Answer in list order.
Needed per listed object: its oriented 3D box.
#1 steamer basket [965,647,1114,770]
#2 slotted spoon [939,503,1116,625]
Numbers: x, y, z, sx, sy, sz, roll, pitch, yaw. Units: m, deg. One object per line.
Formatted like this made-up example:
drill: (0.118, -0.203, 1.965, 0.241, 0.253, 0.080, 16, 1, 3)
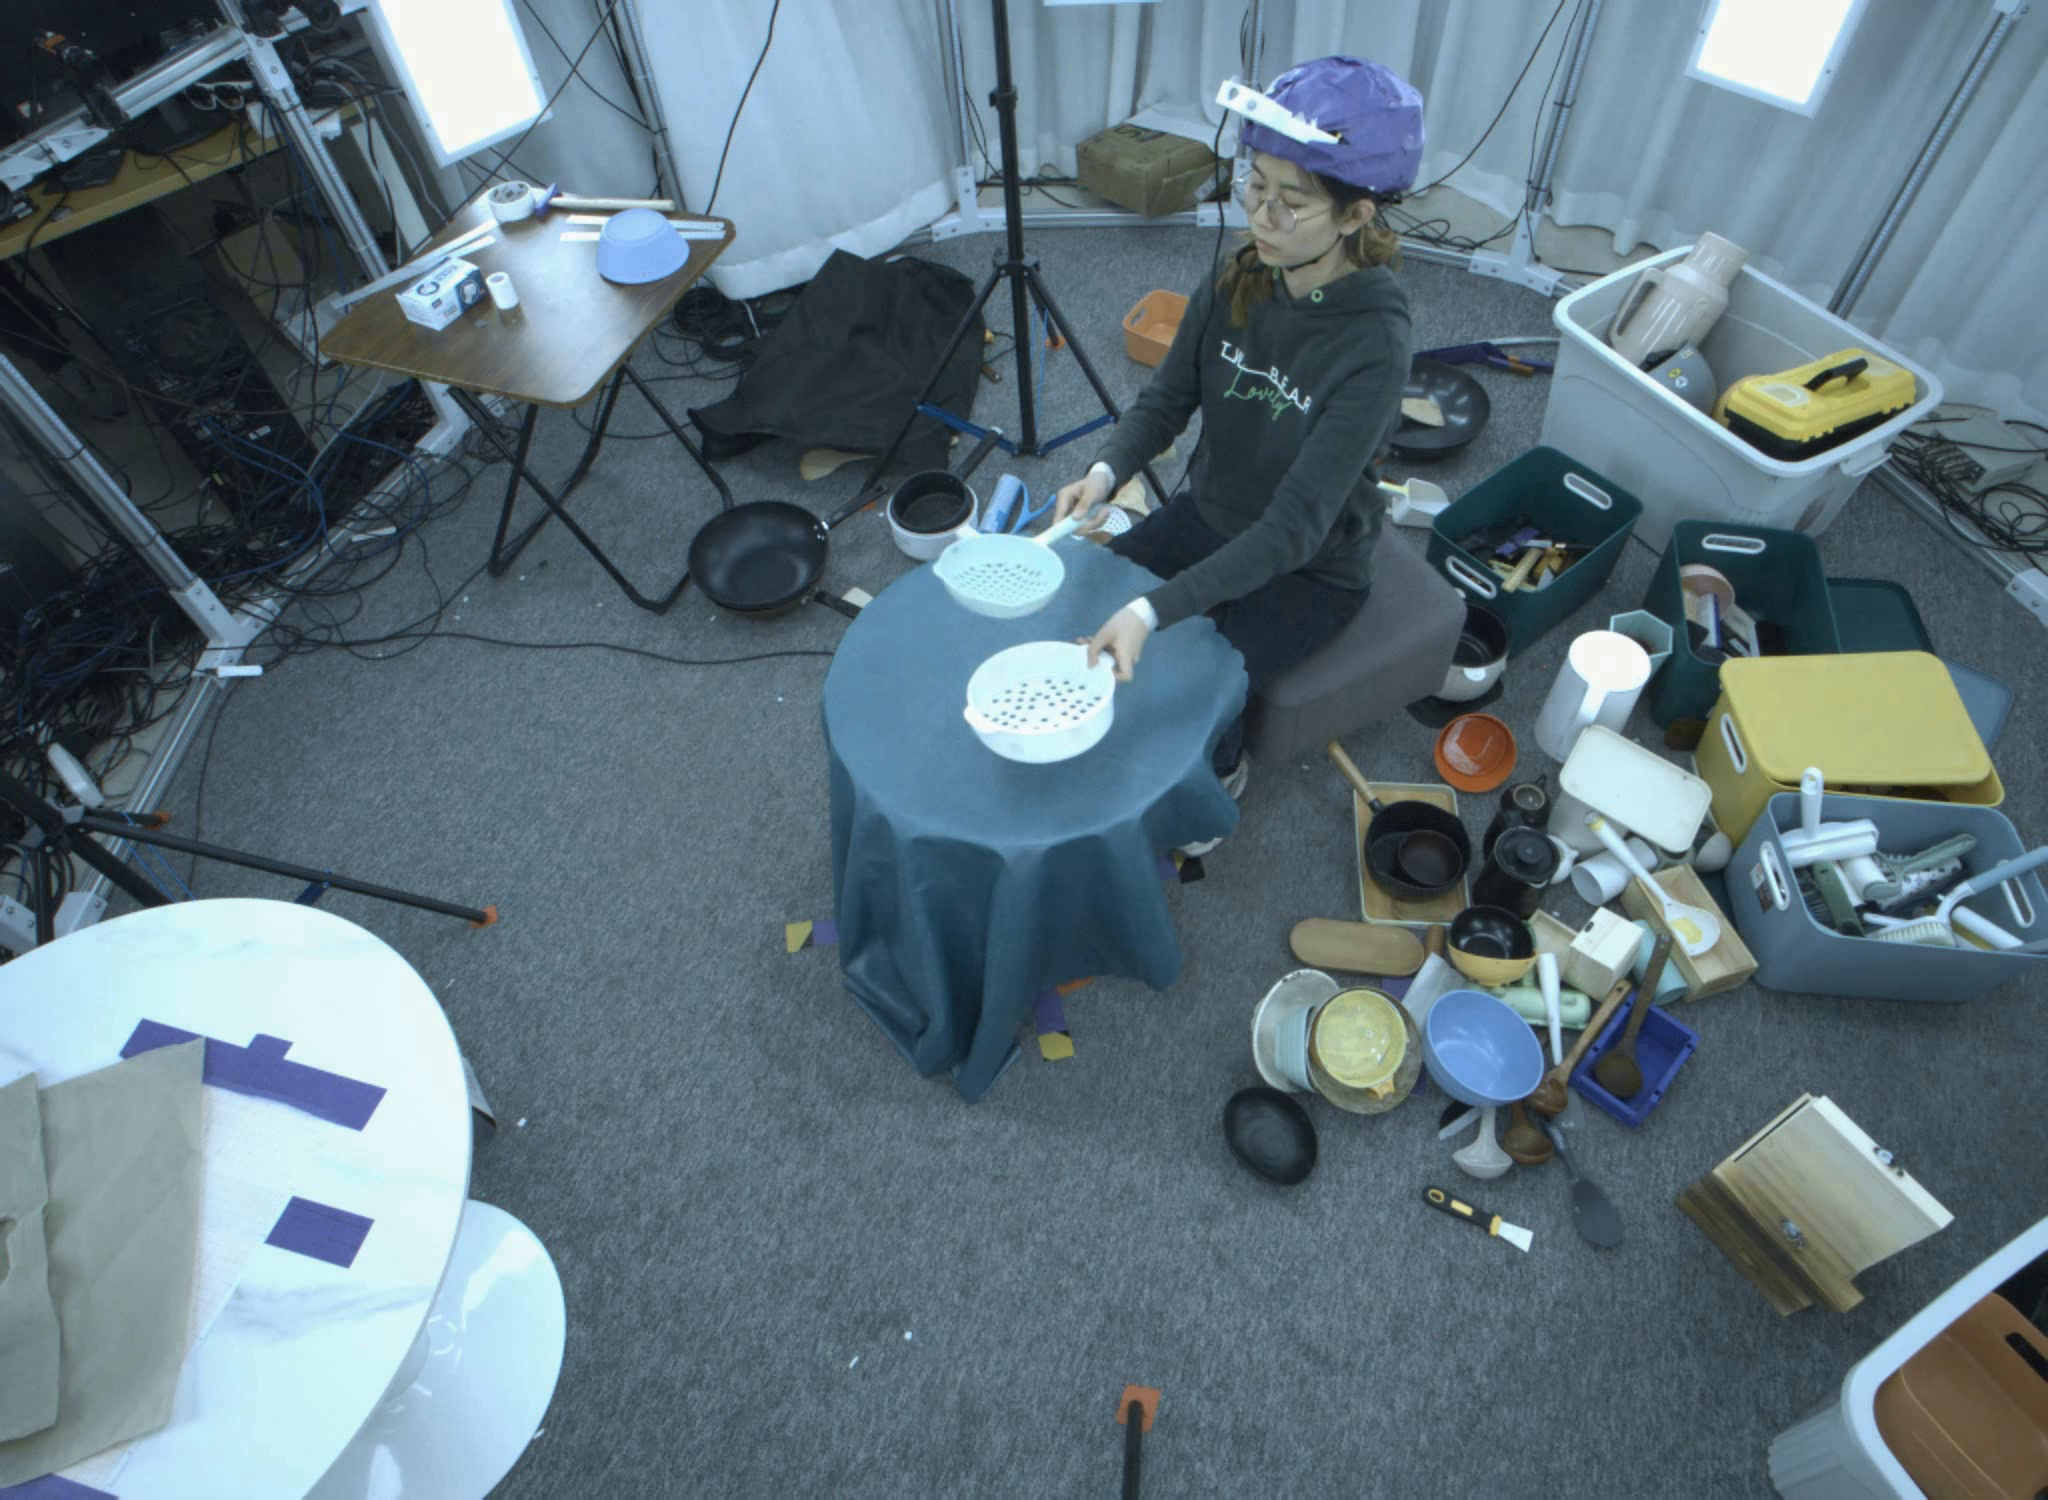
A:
steamer basket: (0.024, -0.056, 1.697, 0.233, 0.070, 0.197, -31, 49, -26)
slotted spoon: (0.031, -0.278, 1.719, 0.167, 0.076, 0.361, 28, 53, 20)
